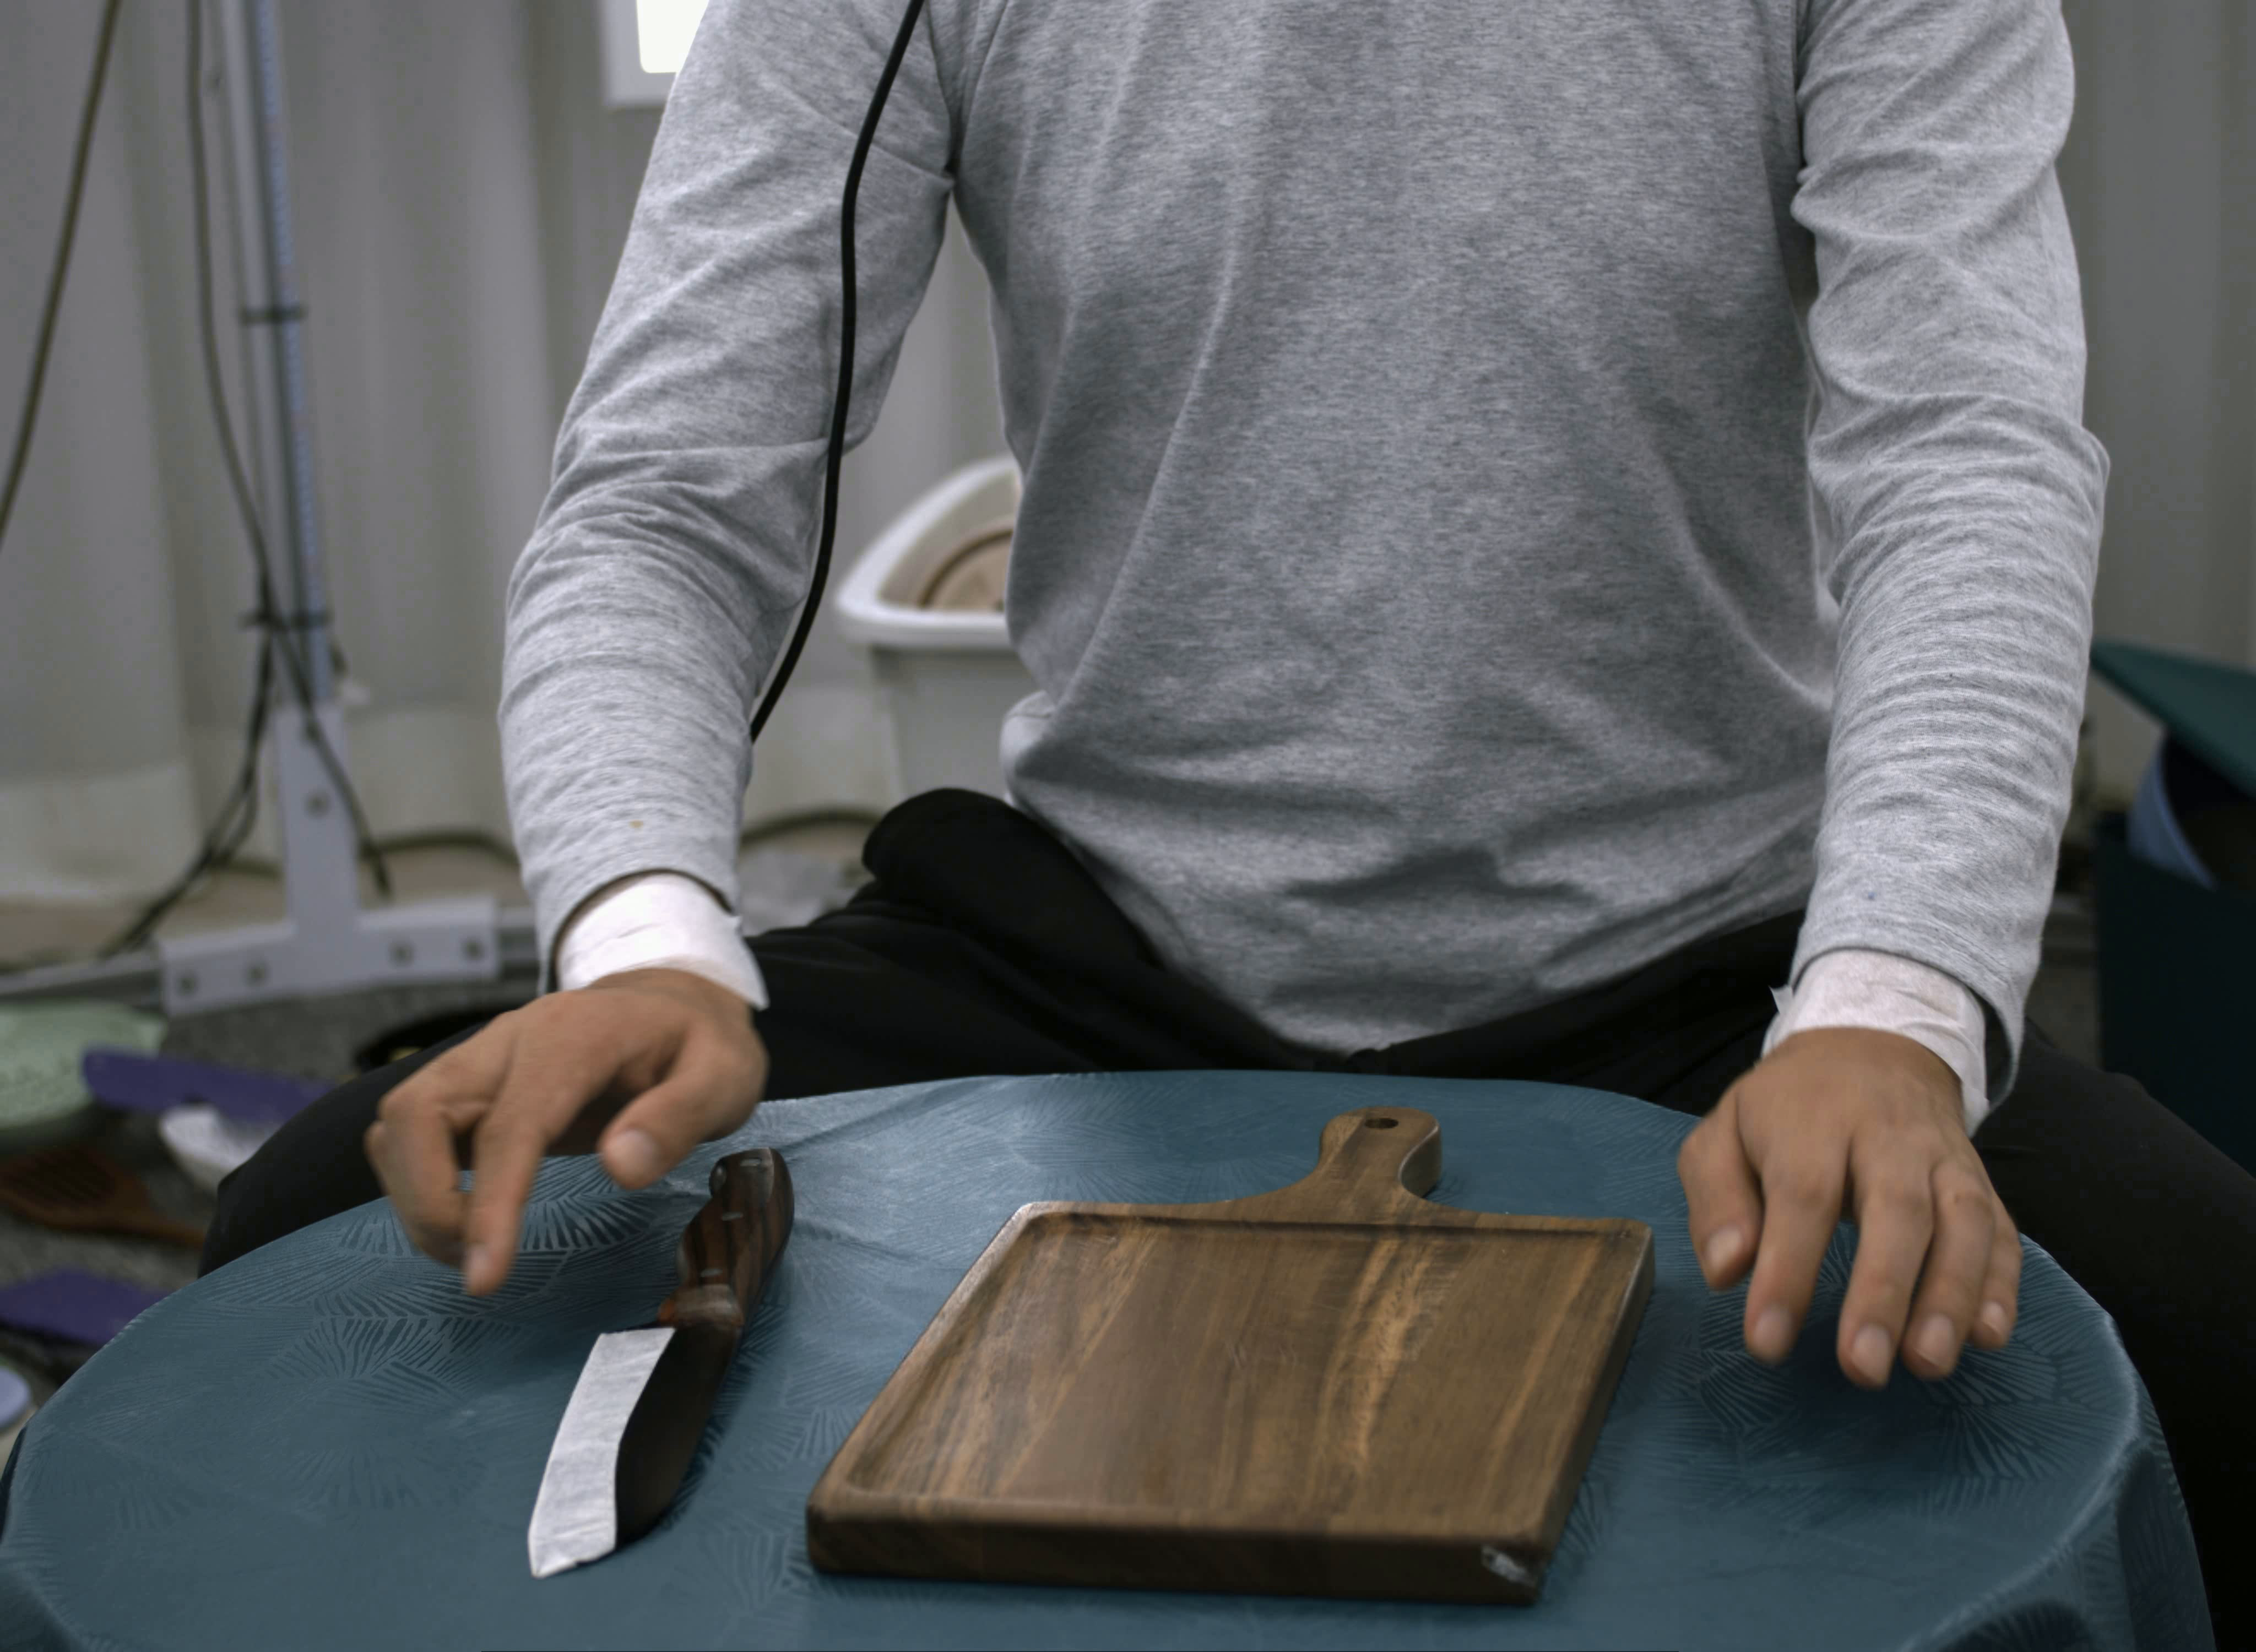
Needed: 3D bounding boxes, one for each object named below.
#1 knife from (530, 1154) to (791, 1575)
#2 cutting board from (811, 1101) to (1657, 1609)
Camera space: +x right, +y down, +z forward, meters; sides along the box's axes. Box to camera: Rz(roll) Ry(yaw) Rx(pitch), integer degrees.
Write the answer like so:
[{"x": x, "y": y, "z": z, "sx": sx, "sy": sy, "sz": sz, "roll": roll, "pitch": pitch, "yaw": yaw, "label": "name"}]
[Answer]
[{"x": -0.132, "y": 0.153, "z": 1.569, "sx": 0.050, "sy": 0.020, "sz": 0.291, "roll": -8, "pitch": 16, "yaw": 10, "label": "knife"}, {"x": 0.047, "y": 0.143, "z": 1.564, "sx": 0.201, "sy": 0.023, "sz": 0.354, "roll": 1, "pitch": 15, "yaw": 13, "label": "cutting board"}]
